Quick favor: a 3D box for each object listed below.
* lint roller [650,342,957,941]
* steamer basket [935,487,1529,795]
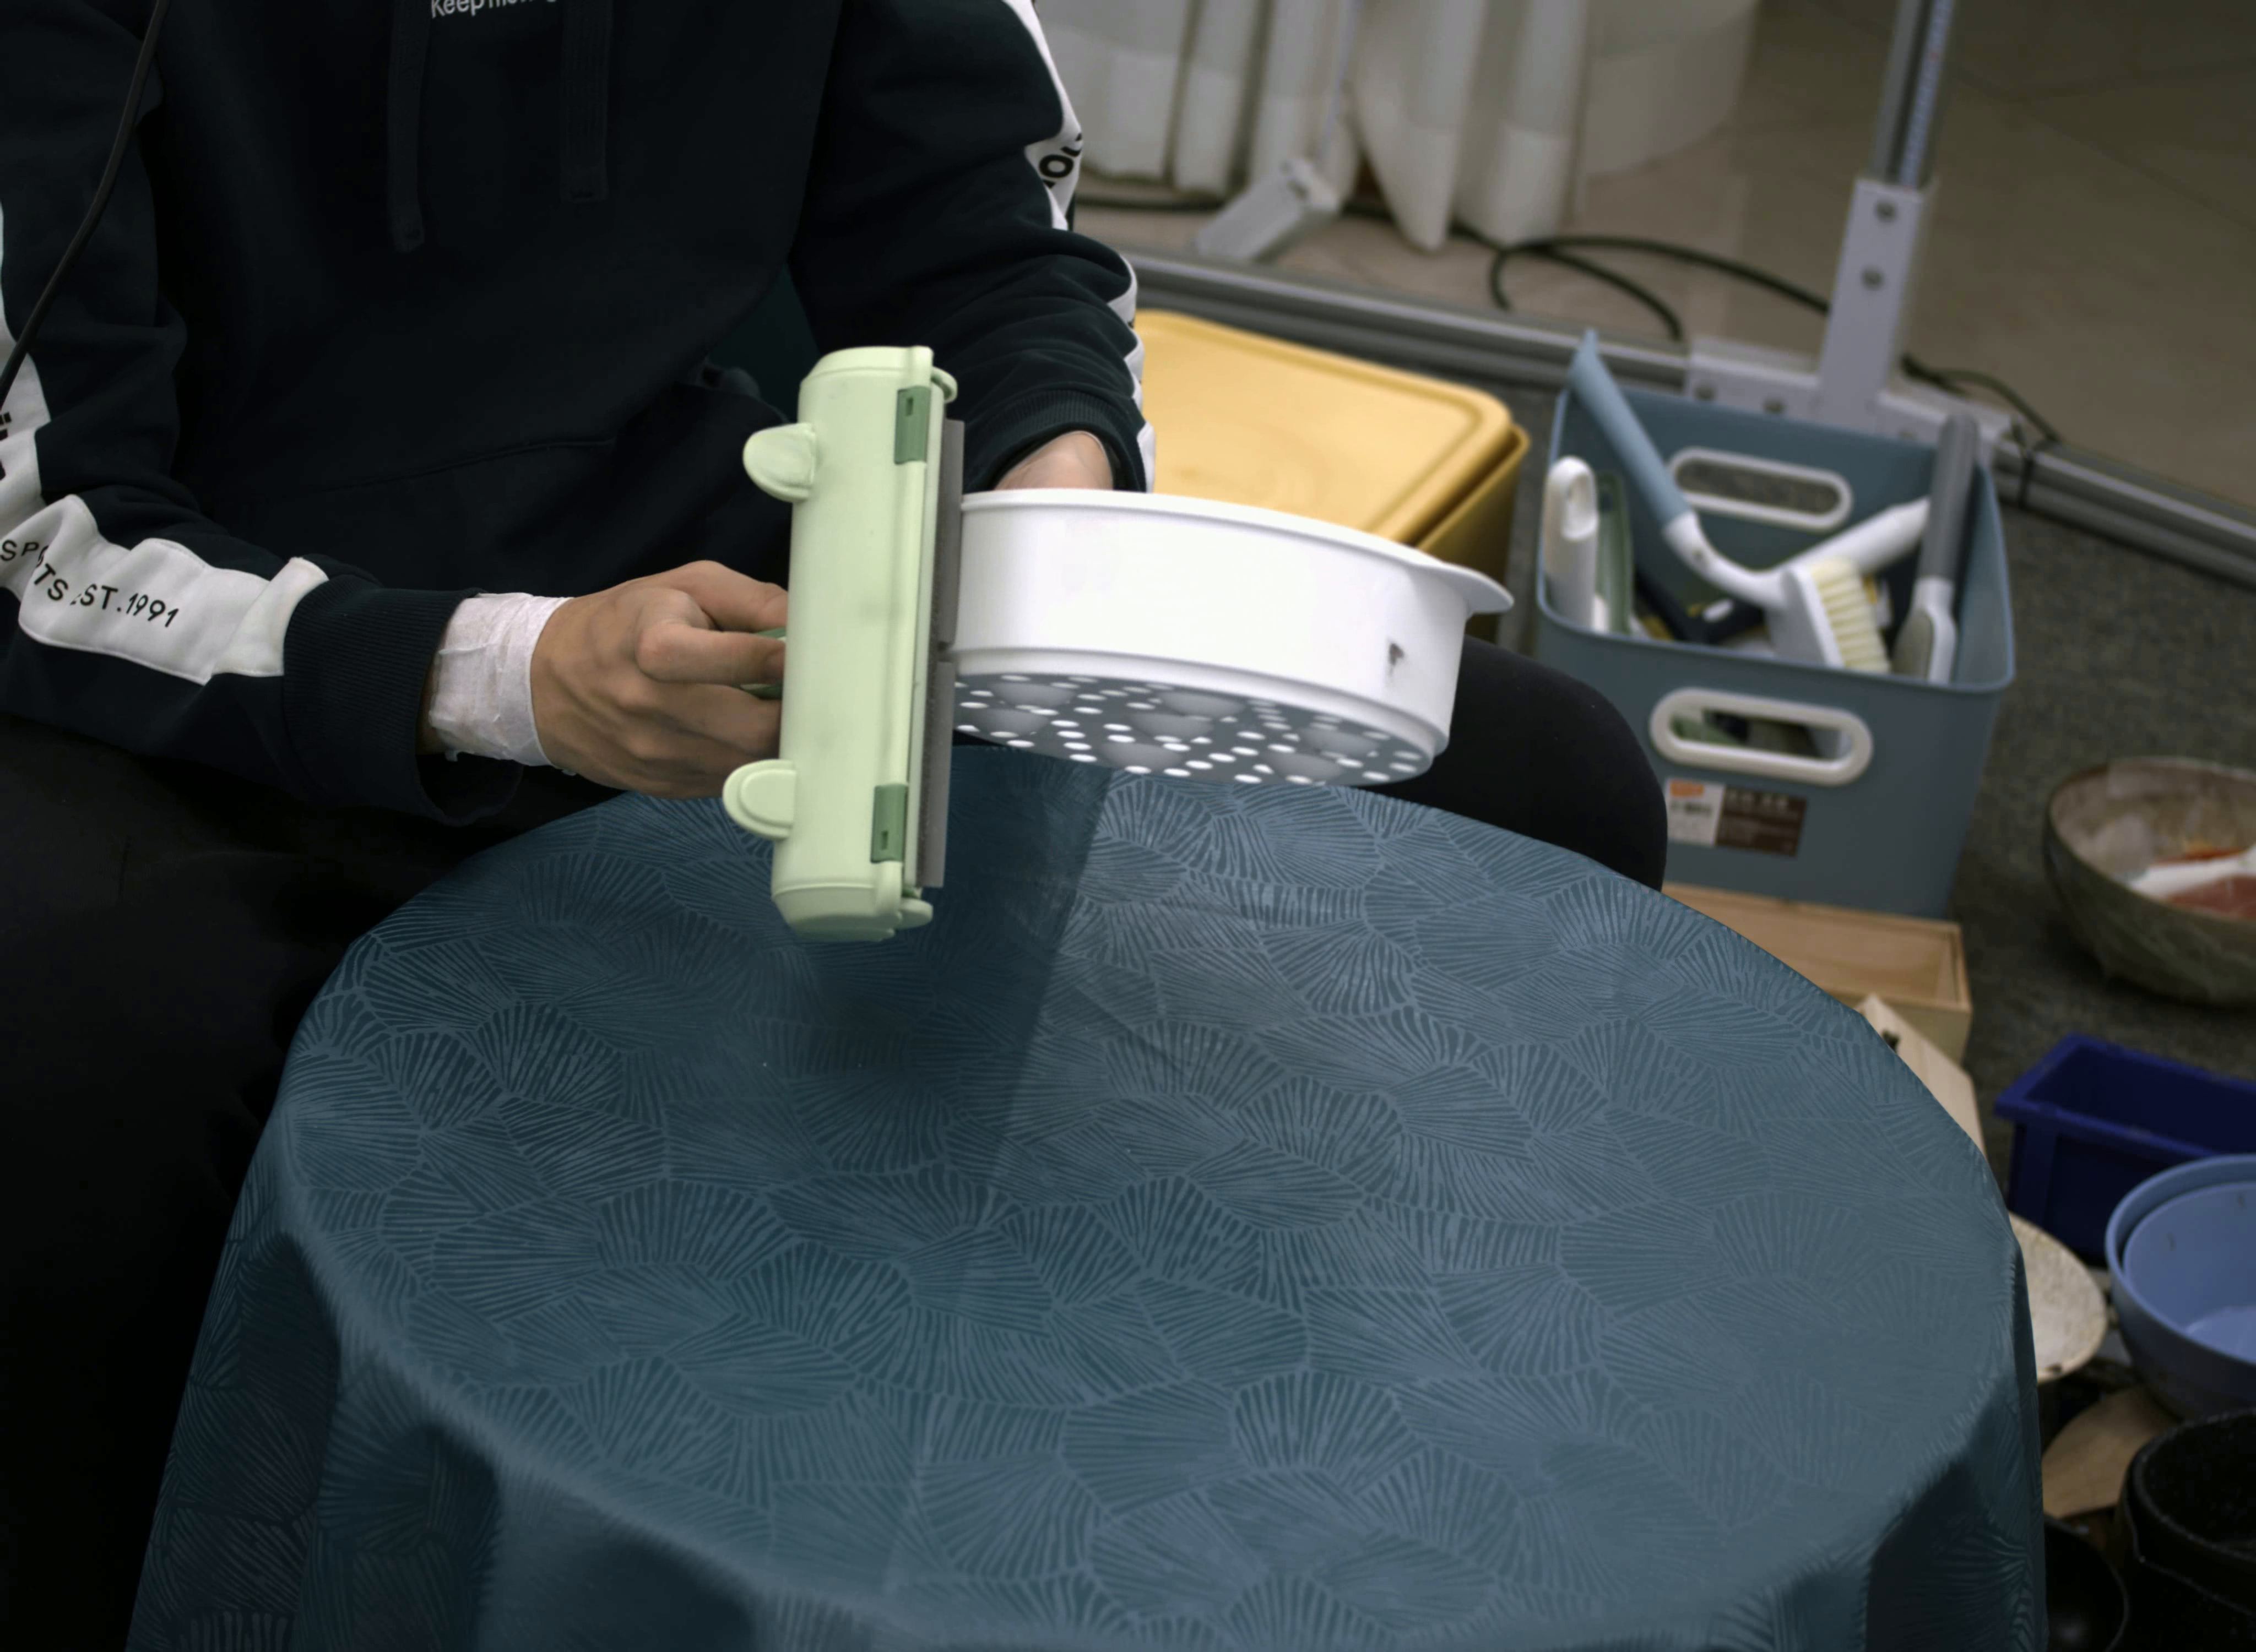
[{"bbox_3d":[-0.130,-0.056,1.815,0.081,0.199,0.184,12,-15,-40],"label":"lint roller"},{"bbox_3d":[0.022,-0.059,1.847,0.231,0.069,0.200,6,-9,22],"label":"steamer basket"}]
